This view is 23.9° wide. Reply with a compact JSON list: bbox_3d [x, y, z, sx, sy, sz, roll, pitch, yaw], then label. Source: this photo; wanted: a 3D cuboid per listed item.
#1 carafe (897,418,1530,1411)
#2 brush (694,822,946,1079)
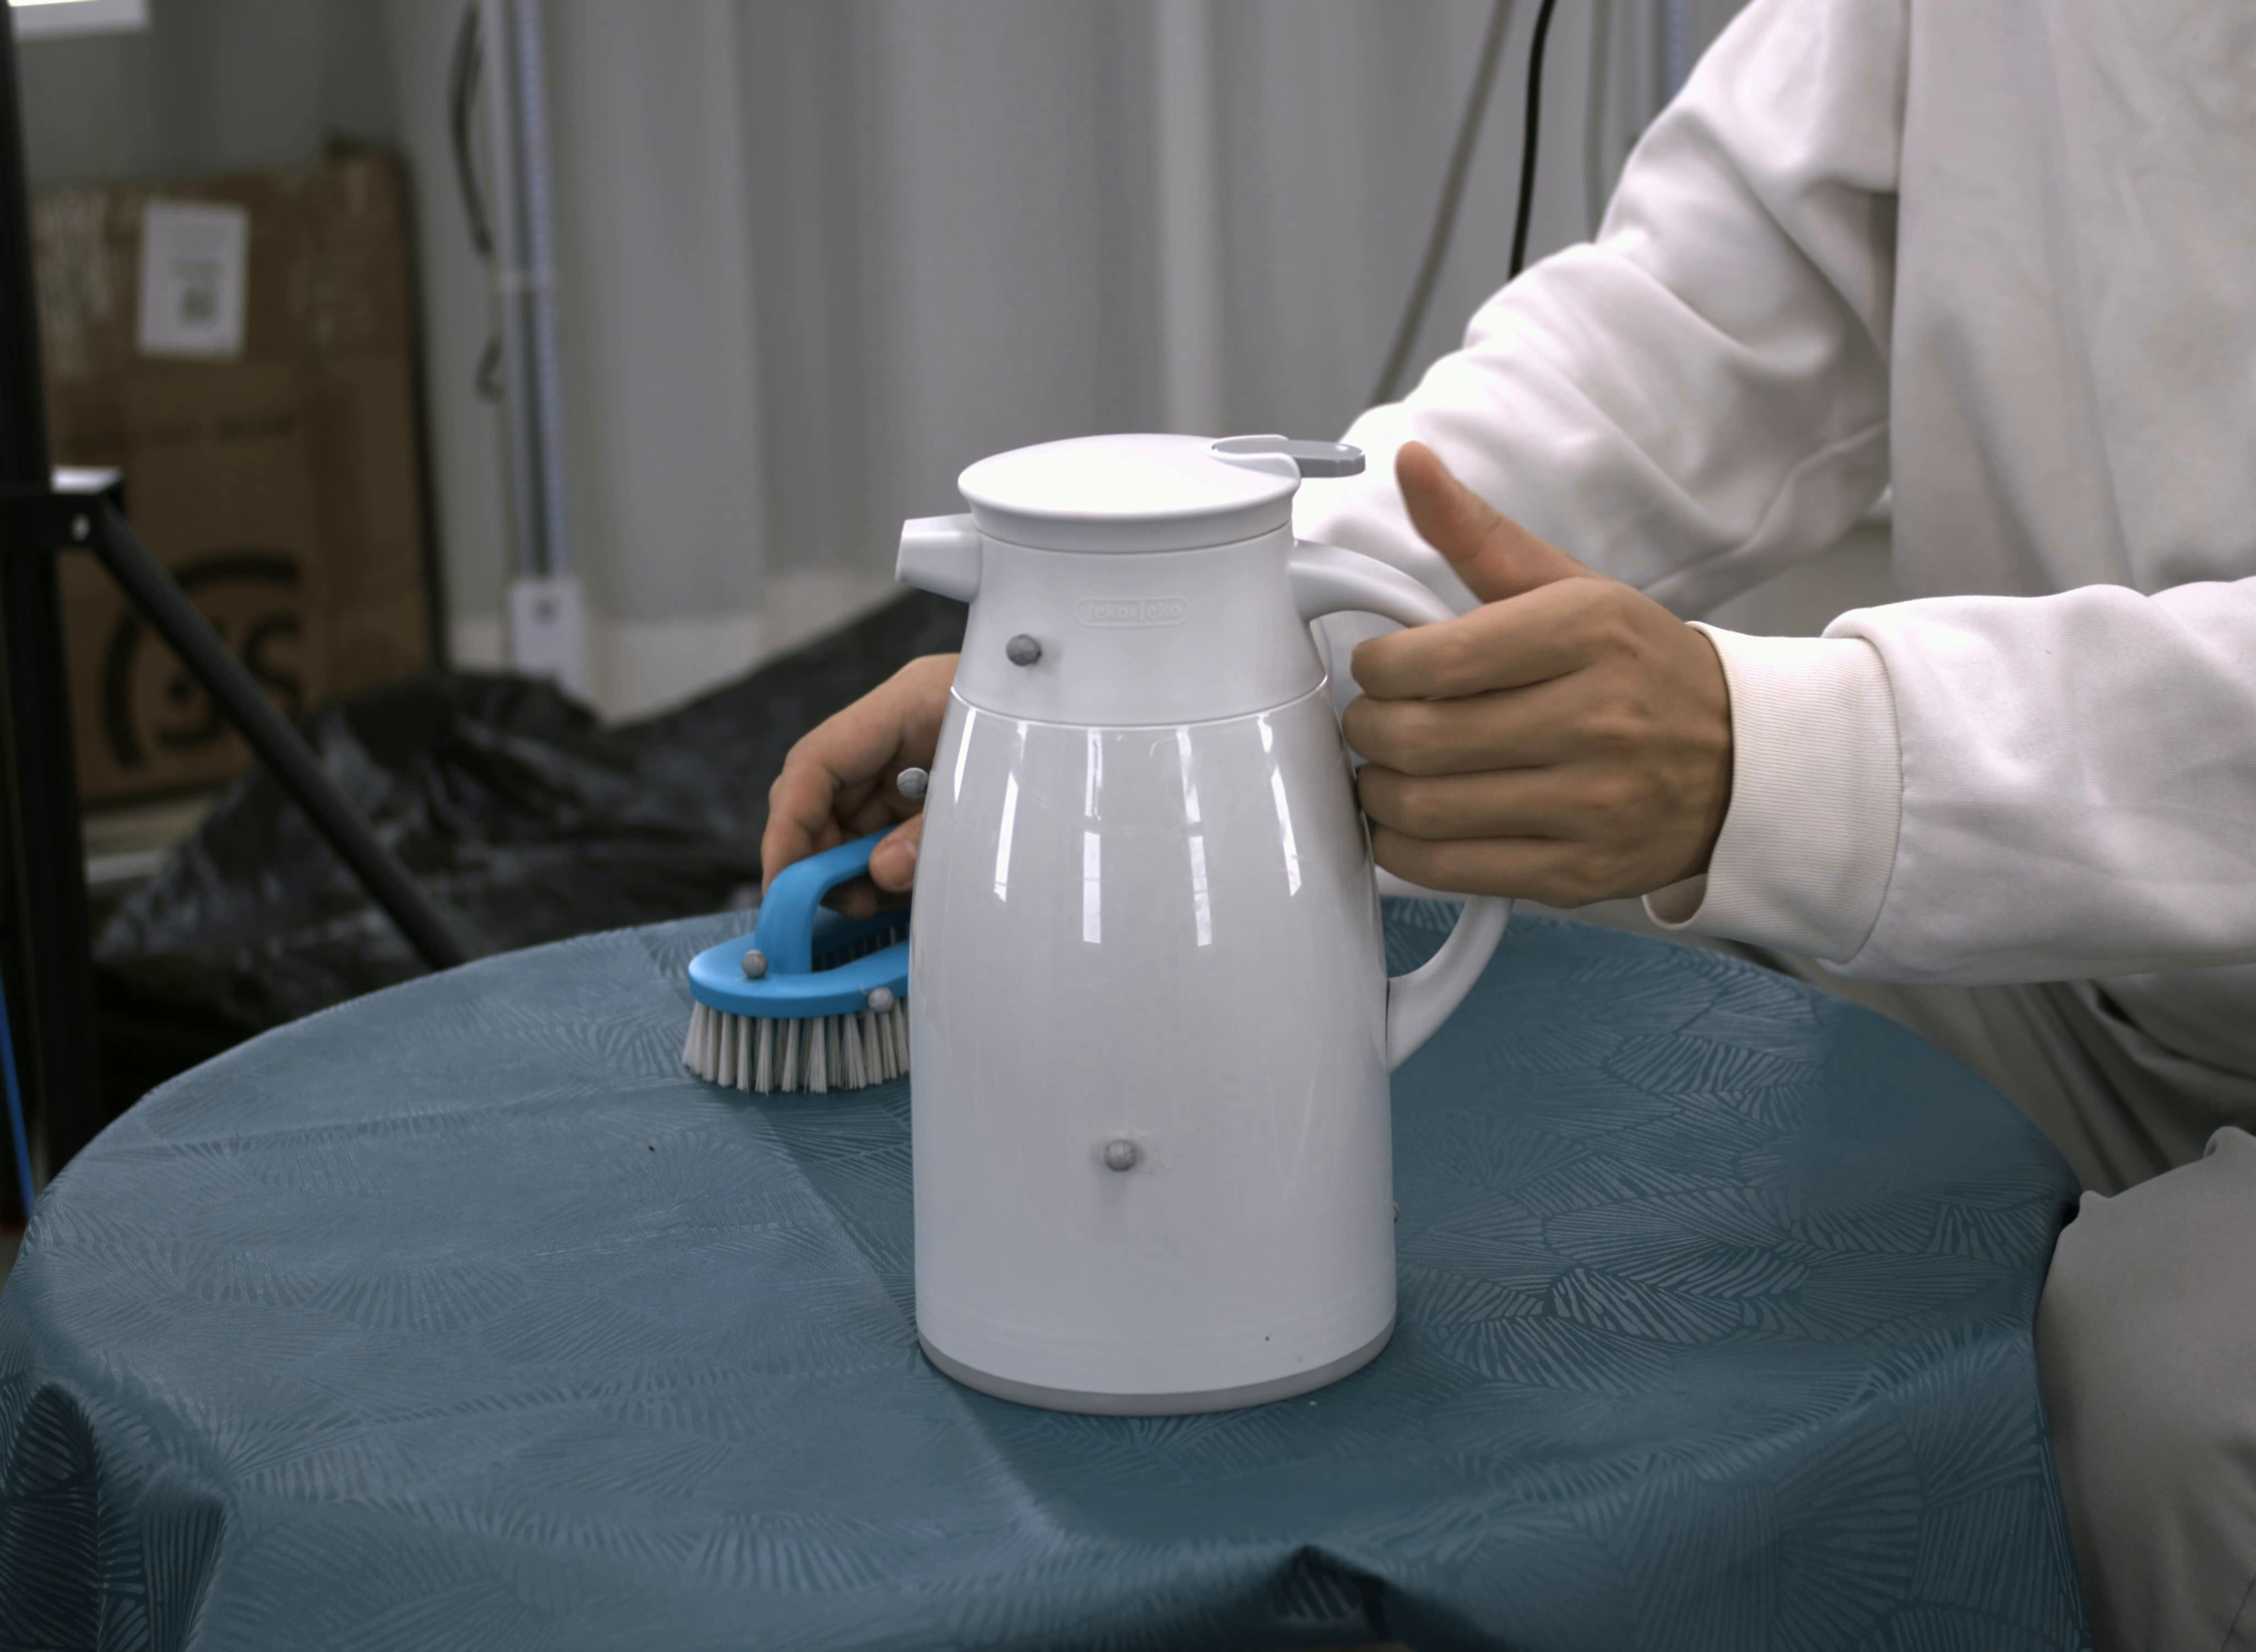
[{"bbox_3d":[0.024,0.016,1.422,0.167,0.248,0.133,-1,15,2],"label":"carafe"},{"bbox_3d":[-0.082,0.035,1.712,0.086,0.064,0.138,4,14,39],"label":"brush"}]
